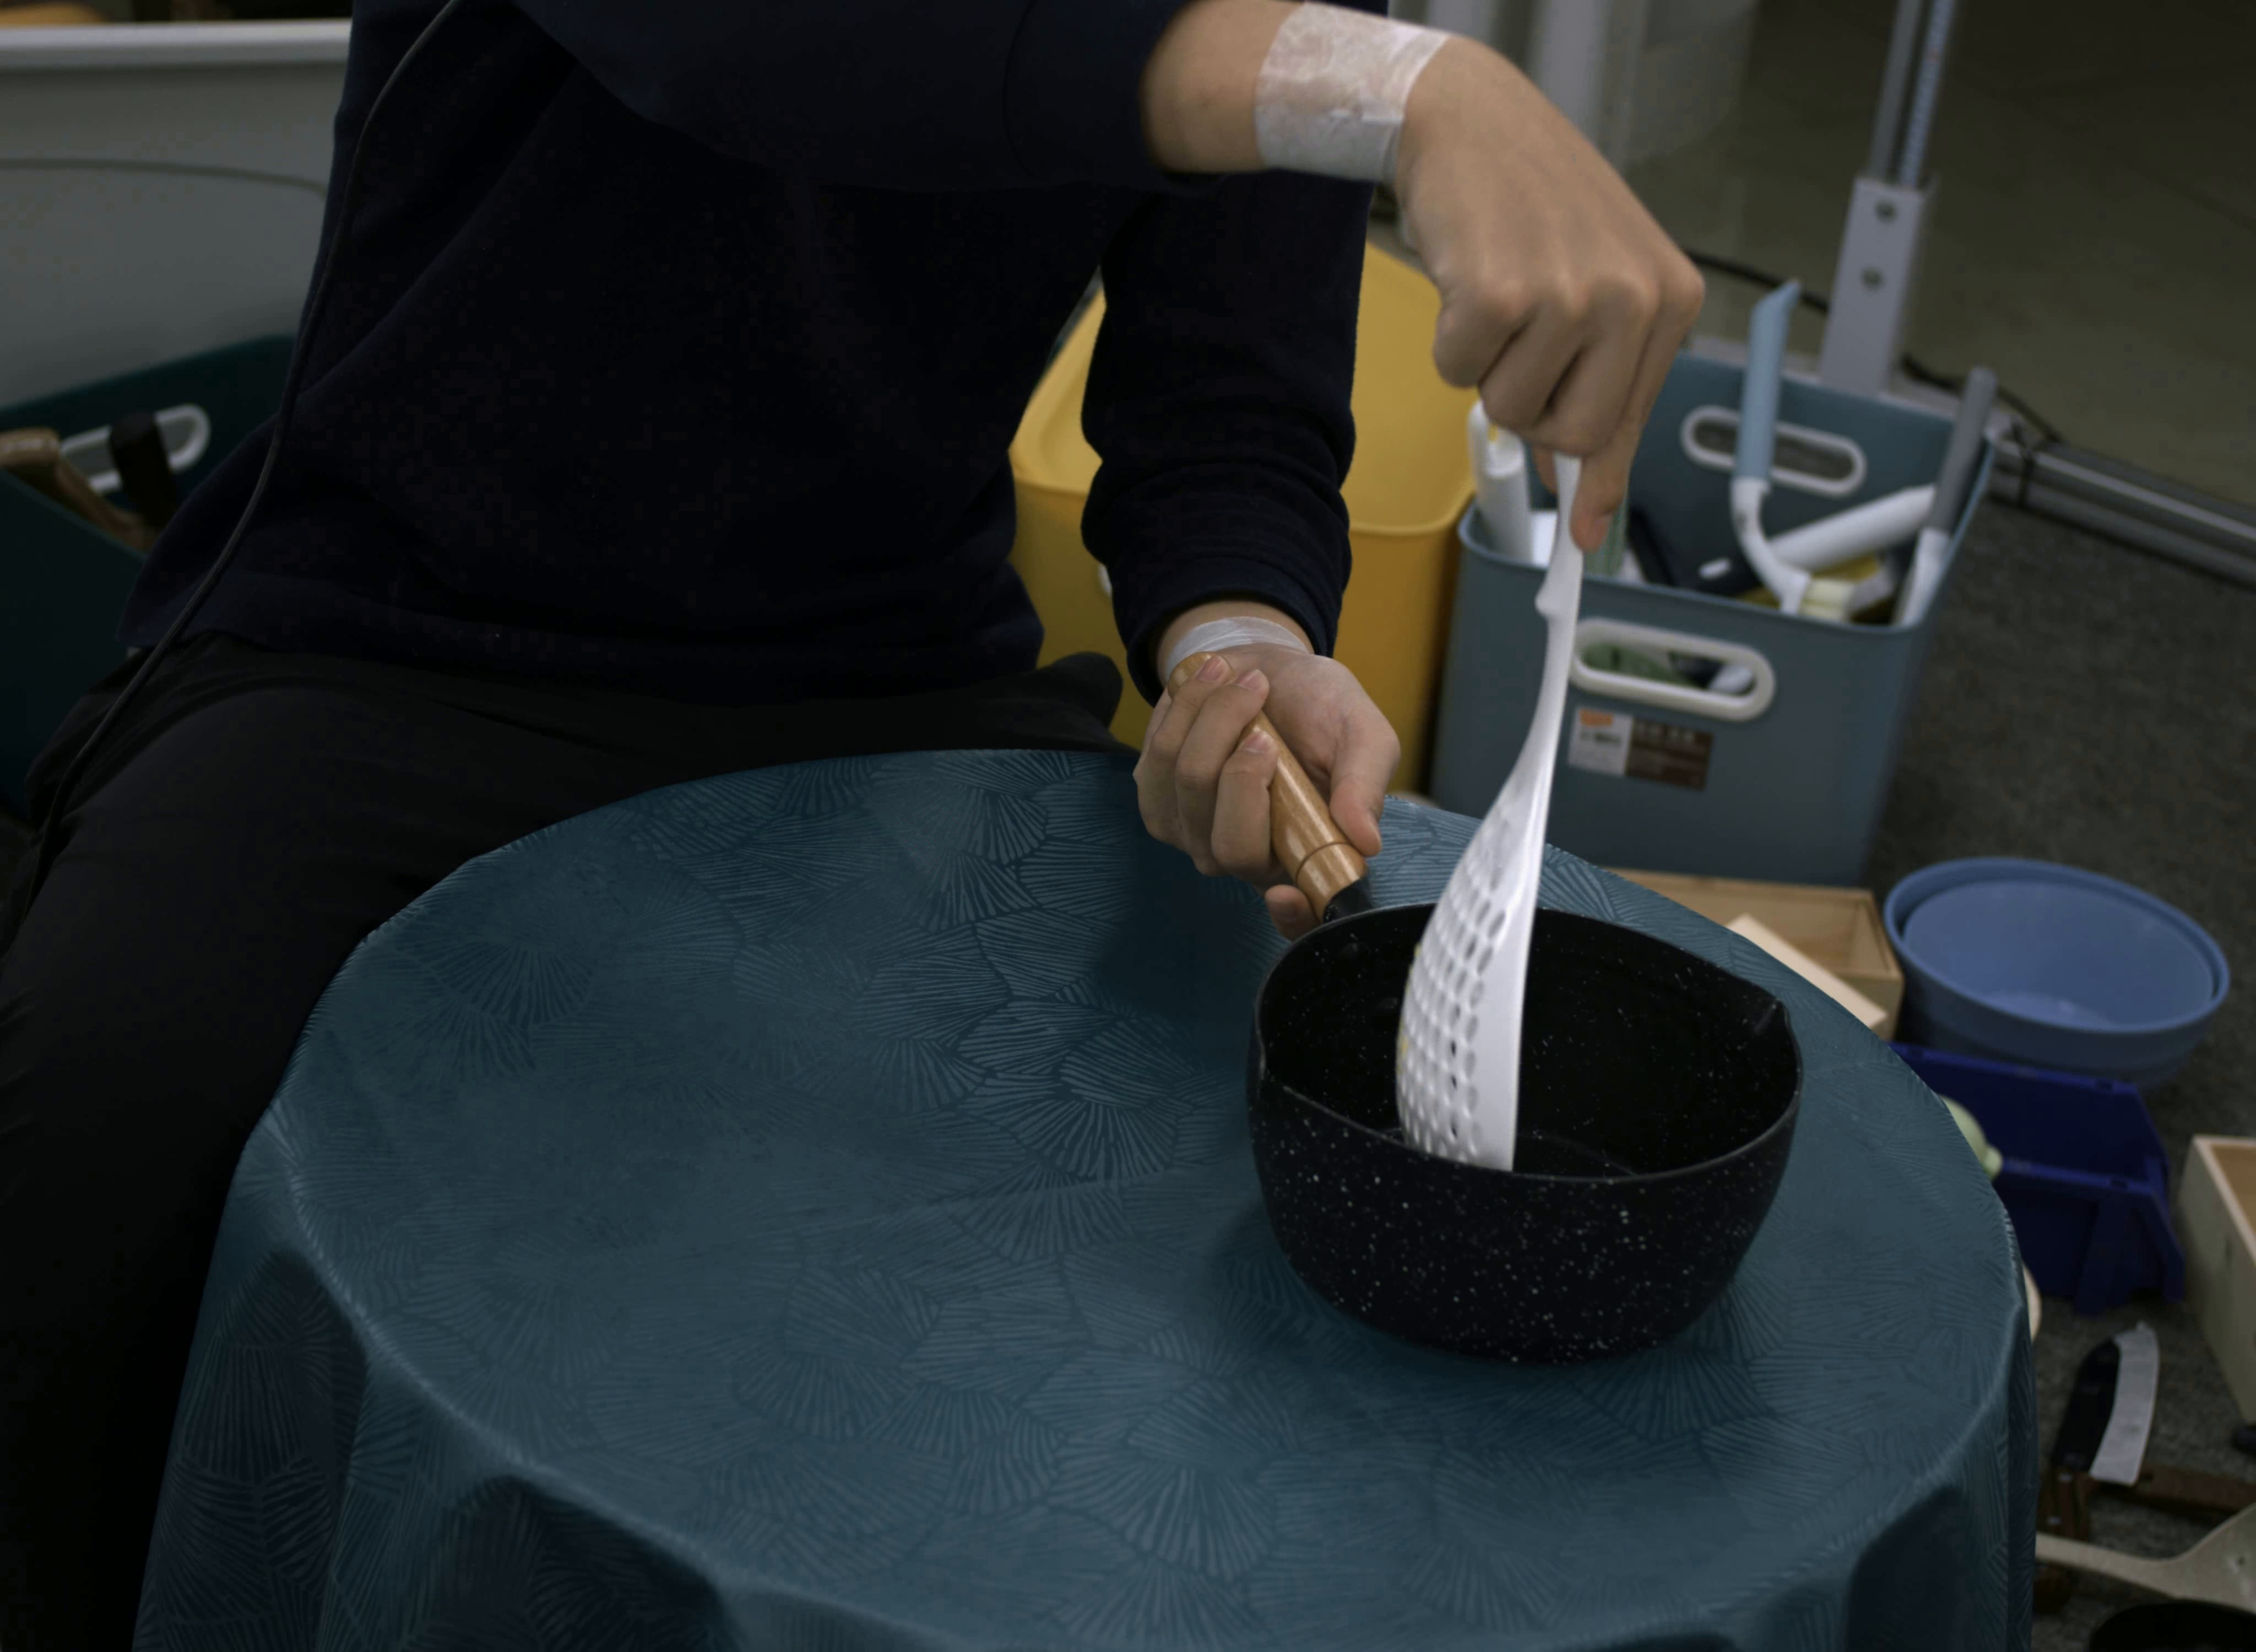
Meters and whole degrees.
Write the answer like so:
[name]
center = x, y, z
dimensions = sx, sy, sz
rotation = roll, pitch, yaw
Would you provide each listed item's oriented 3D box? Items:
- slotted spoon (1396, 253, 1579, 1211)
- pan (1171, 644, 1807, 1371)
[slotted spoon]
center = 0.123, -0.019, 1.702
dimensions = 0.050, 0.347, 0.137
rotation = 9, 26, 0
[pan]
center = 0.093, 0.059, 1.831
dimensions = 0.206, 0.108, 0.346
rotation = -9, 32, -26
